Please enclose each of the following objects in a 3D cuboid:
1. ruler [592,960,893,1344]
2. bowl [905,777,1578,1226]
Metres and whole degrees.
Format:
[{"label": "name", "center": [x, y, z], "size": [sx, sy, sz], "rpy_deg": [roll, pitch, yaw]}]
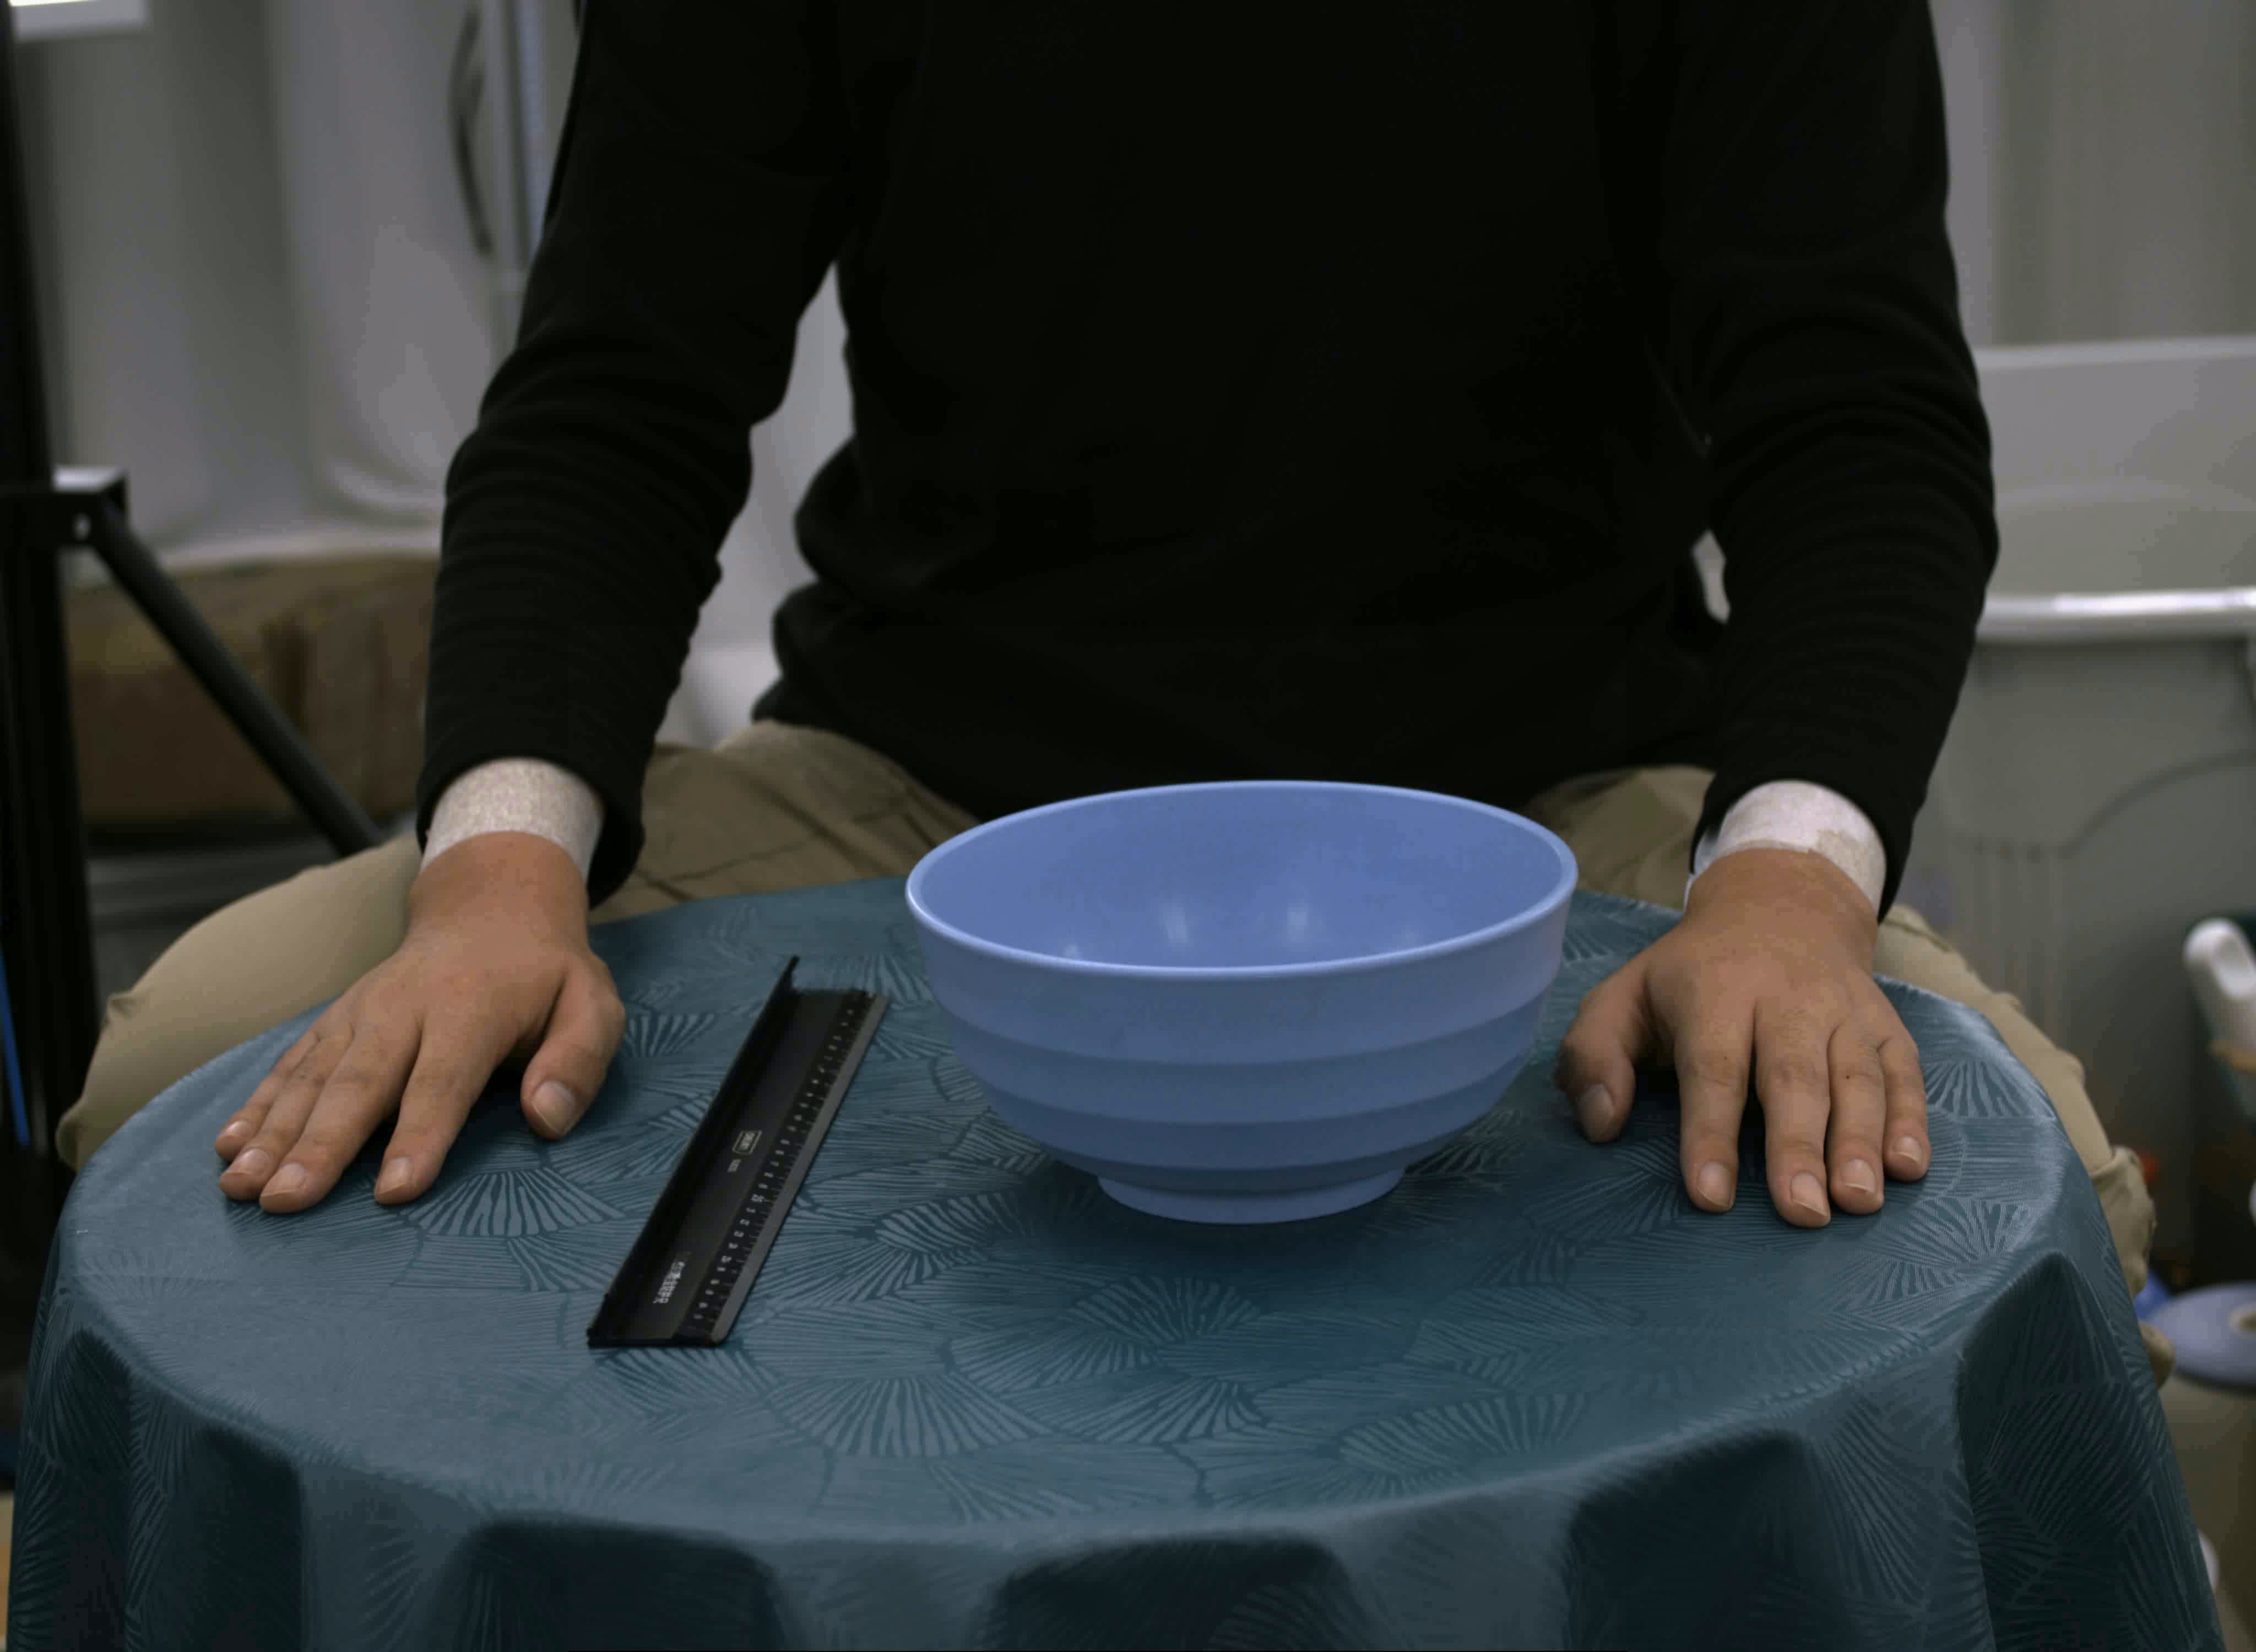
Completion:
[{"label": "ruler", "center": [-0.112, 0.093, 1.600], "size": [0.039, 0.017, 0.312], "rpy_deg": [3, 16, 6]}, {"label": "bowl", "center": [0.034, 0.057, 1.556], "size": [0.195, 0.095, 0.197], "rpy_deg": [-3, 16, -1]}]
